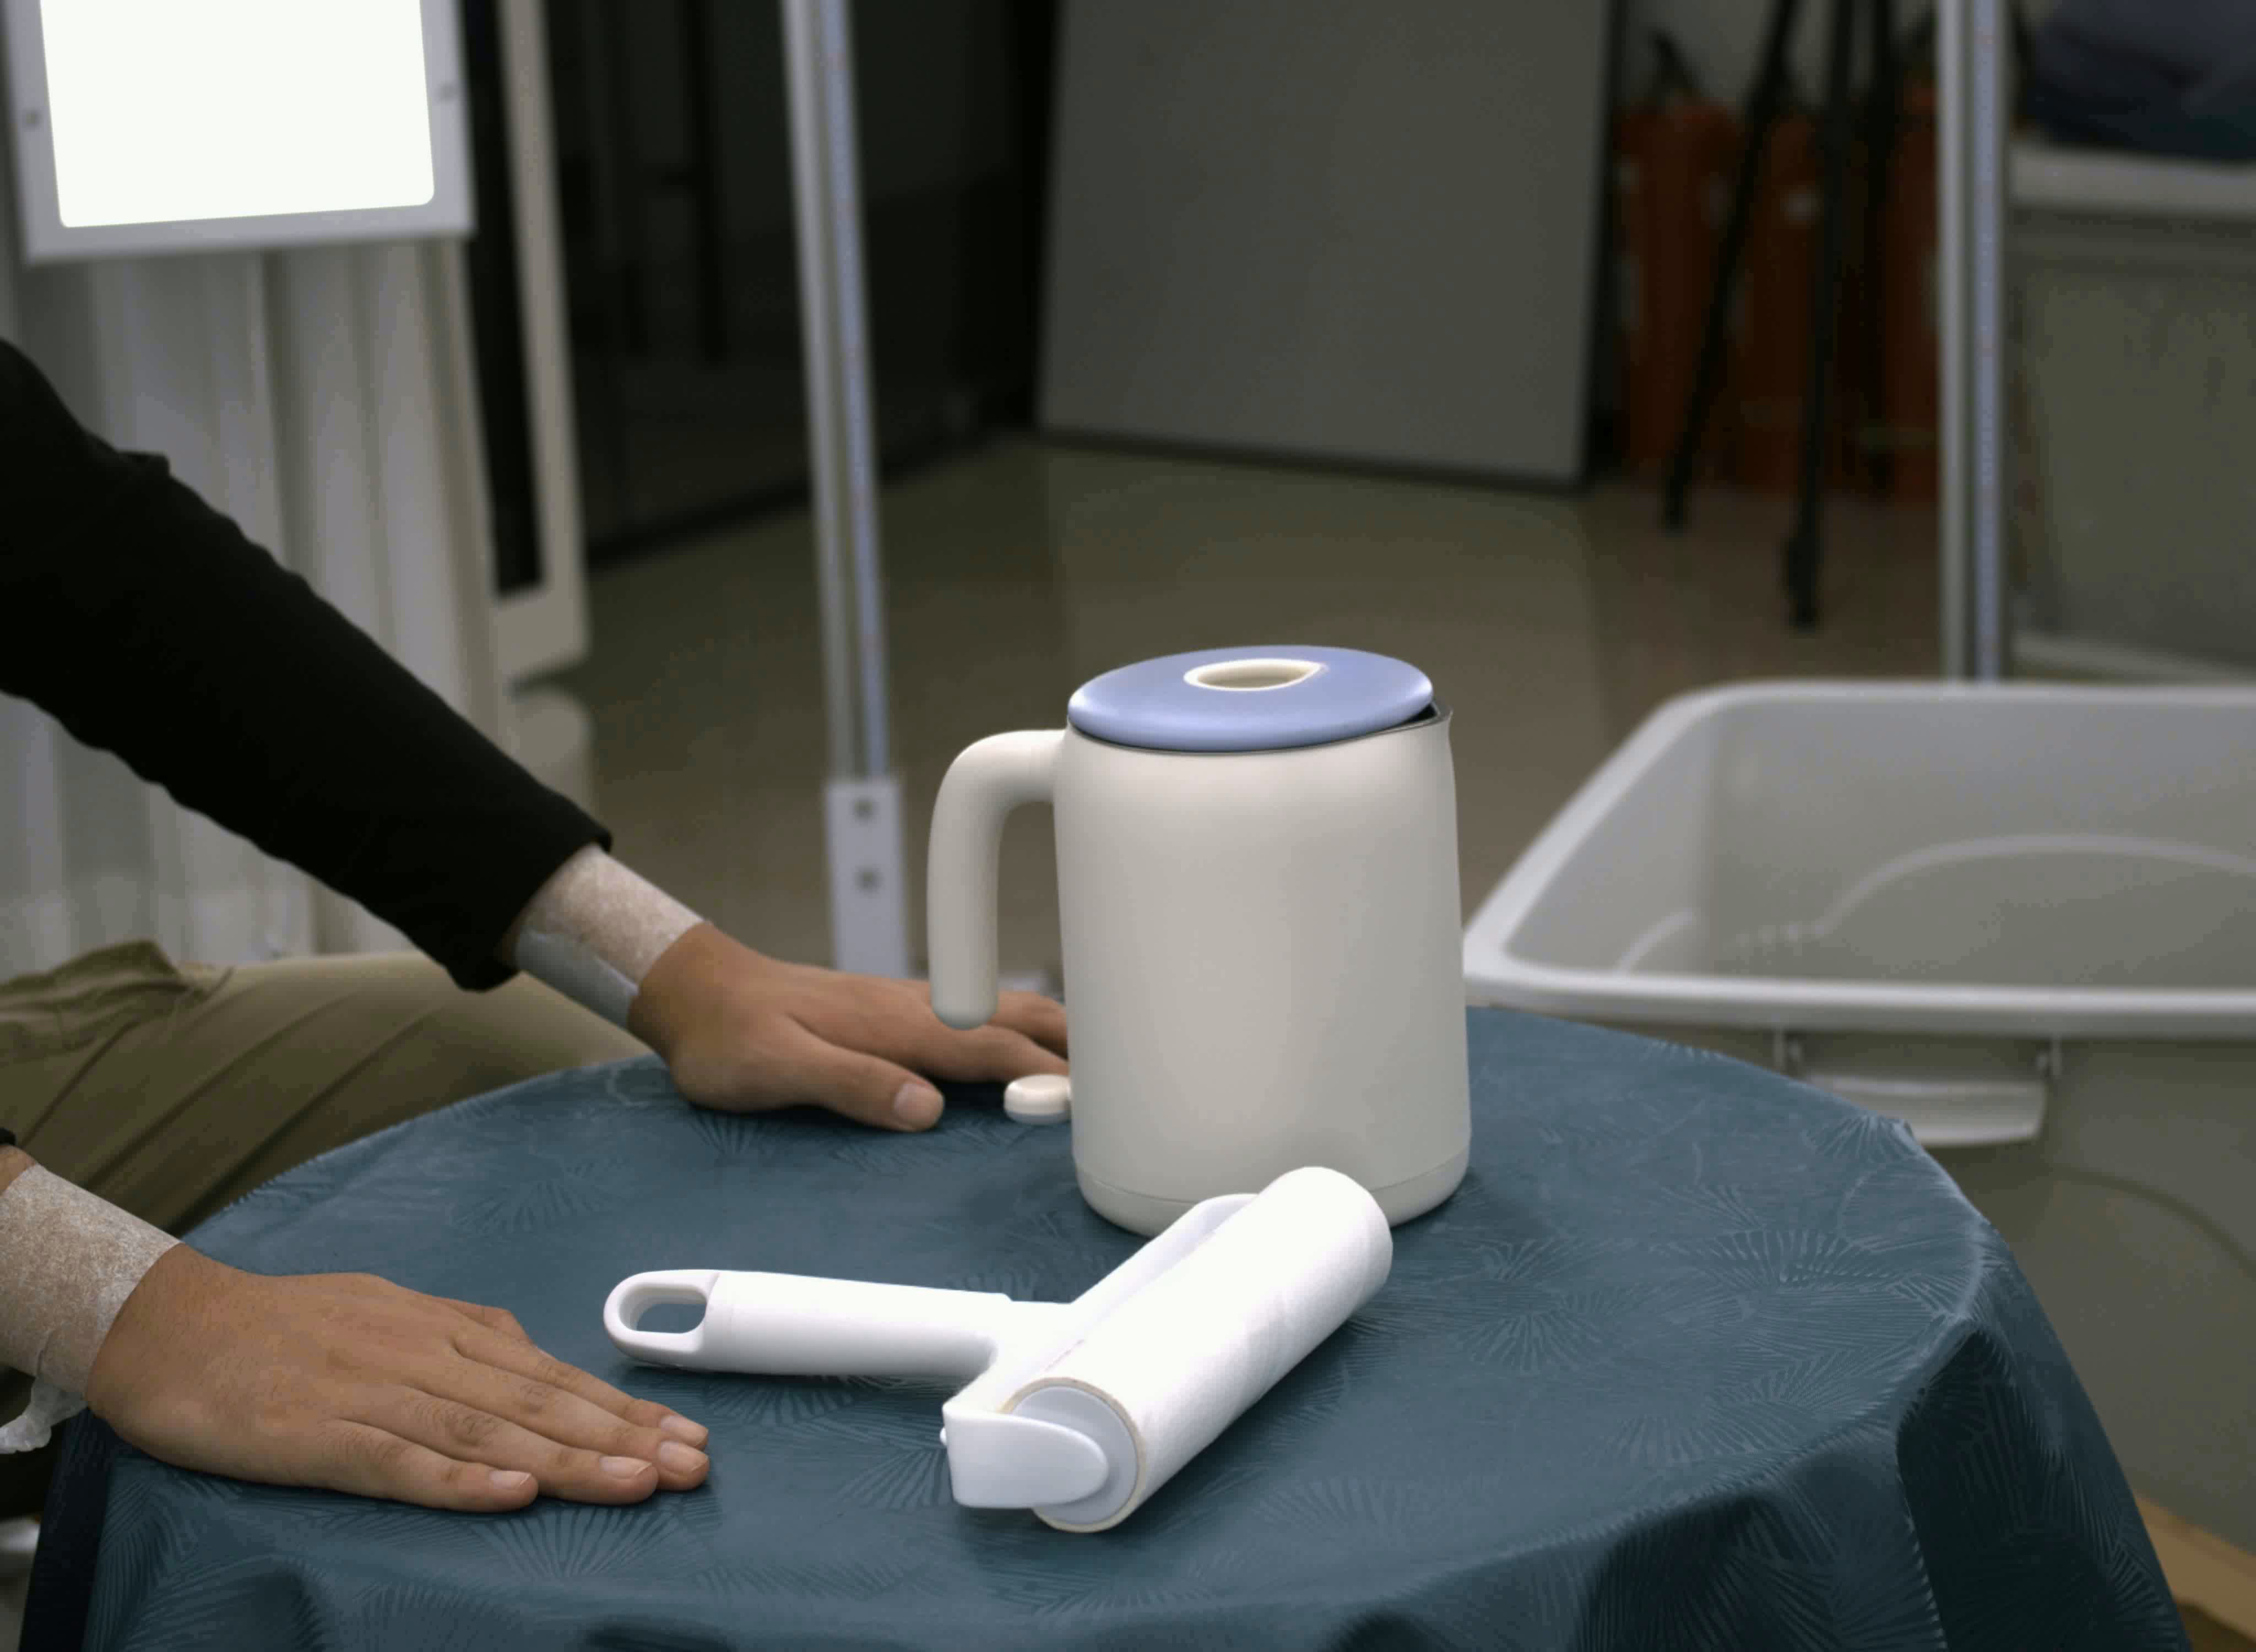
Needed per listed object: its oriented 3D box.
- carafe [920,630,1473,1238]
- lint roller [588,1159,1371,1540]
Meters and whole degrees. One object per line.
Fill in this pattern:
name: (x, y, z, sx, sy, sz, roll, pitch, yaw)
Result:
carafe: (0.020, 0.036, 1.749, 0.191, 0.184, 0.131, -1, 13, 23)
lint roller: (-0.061, 0.147, 1.592, 0.226, 0.049, 0.200, 1, 16, 25)
